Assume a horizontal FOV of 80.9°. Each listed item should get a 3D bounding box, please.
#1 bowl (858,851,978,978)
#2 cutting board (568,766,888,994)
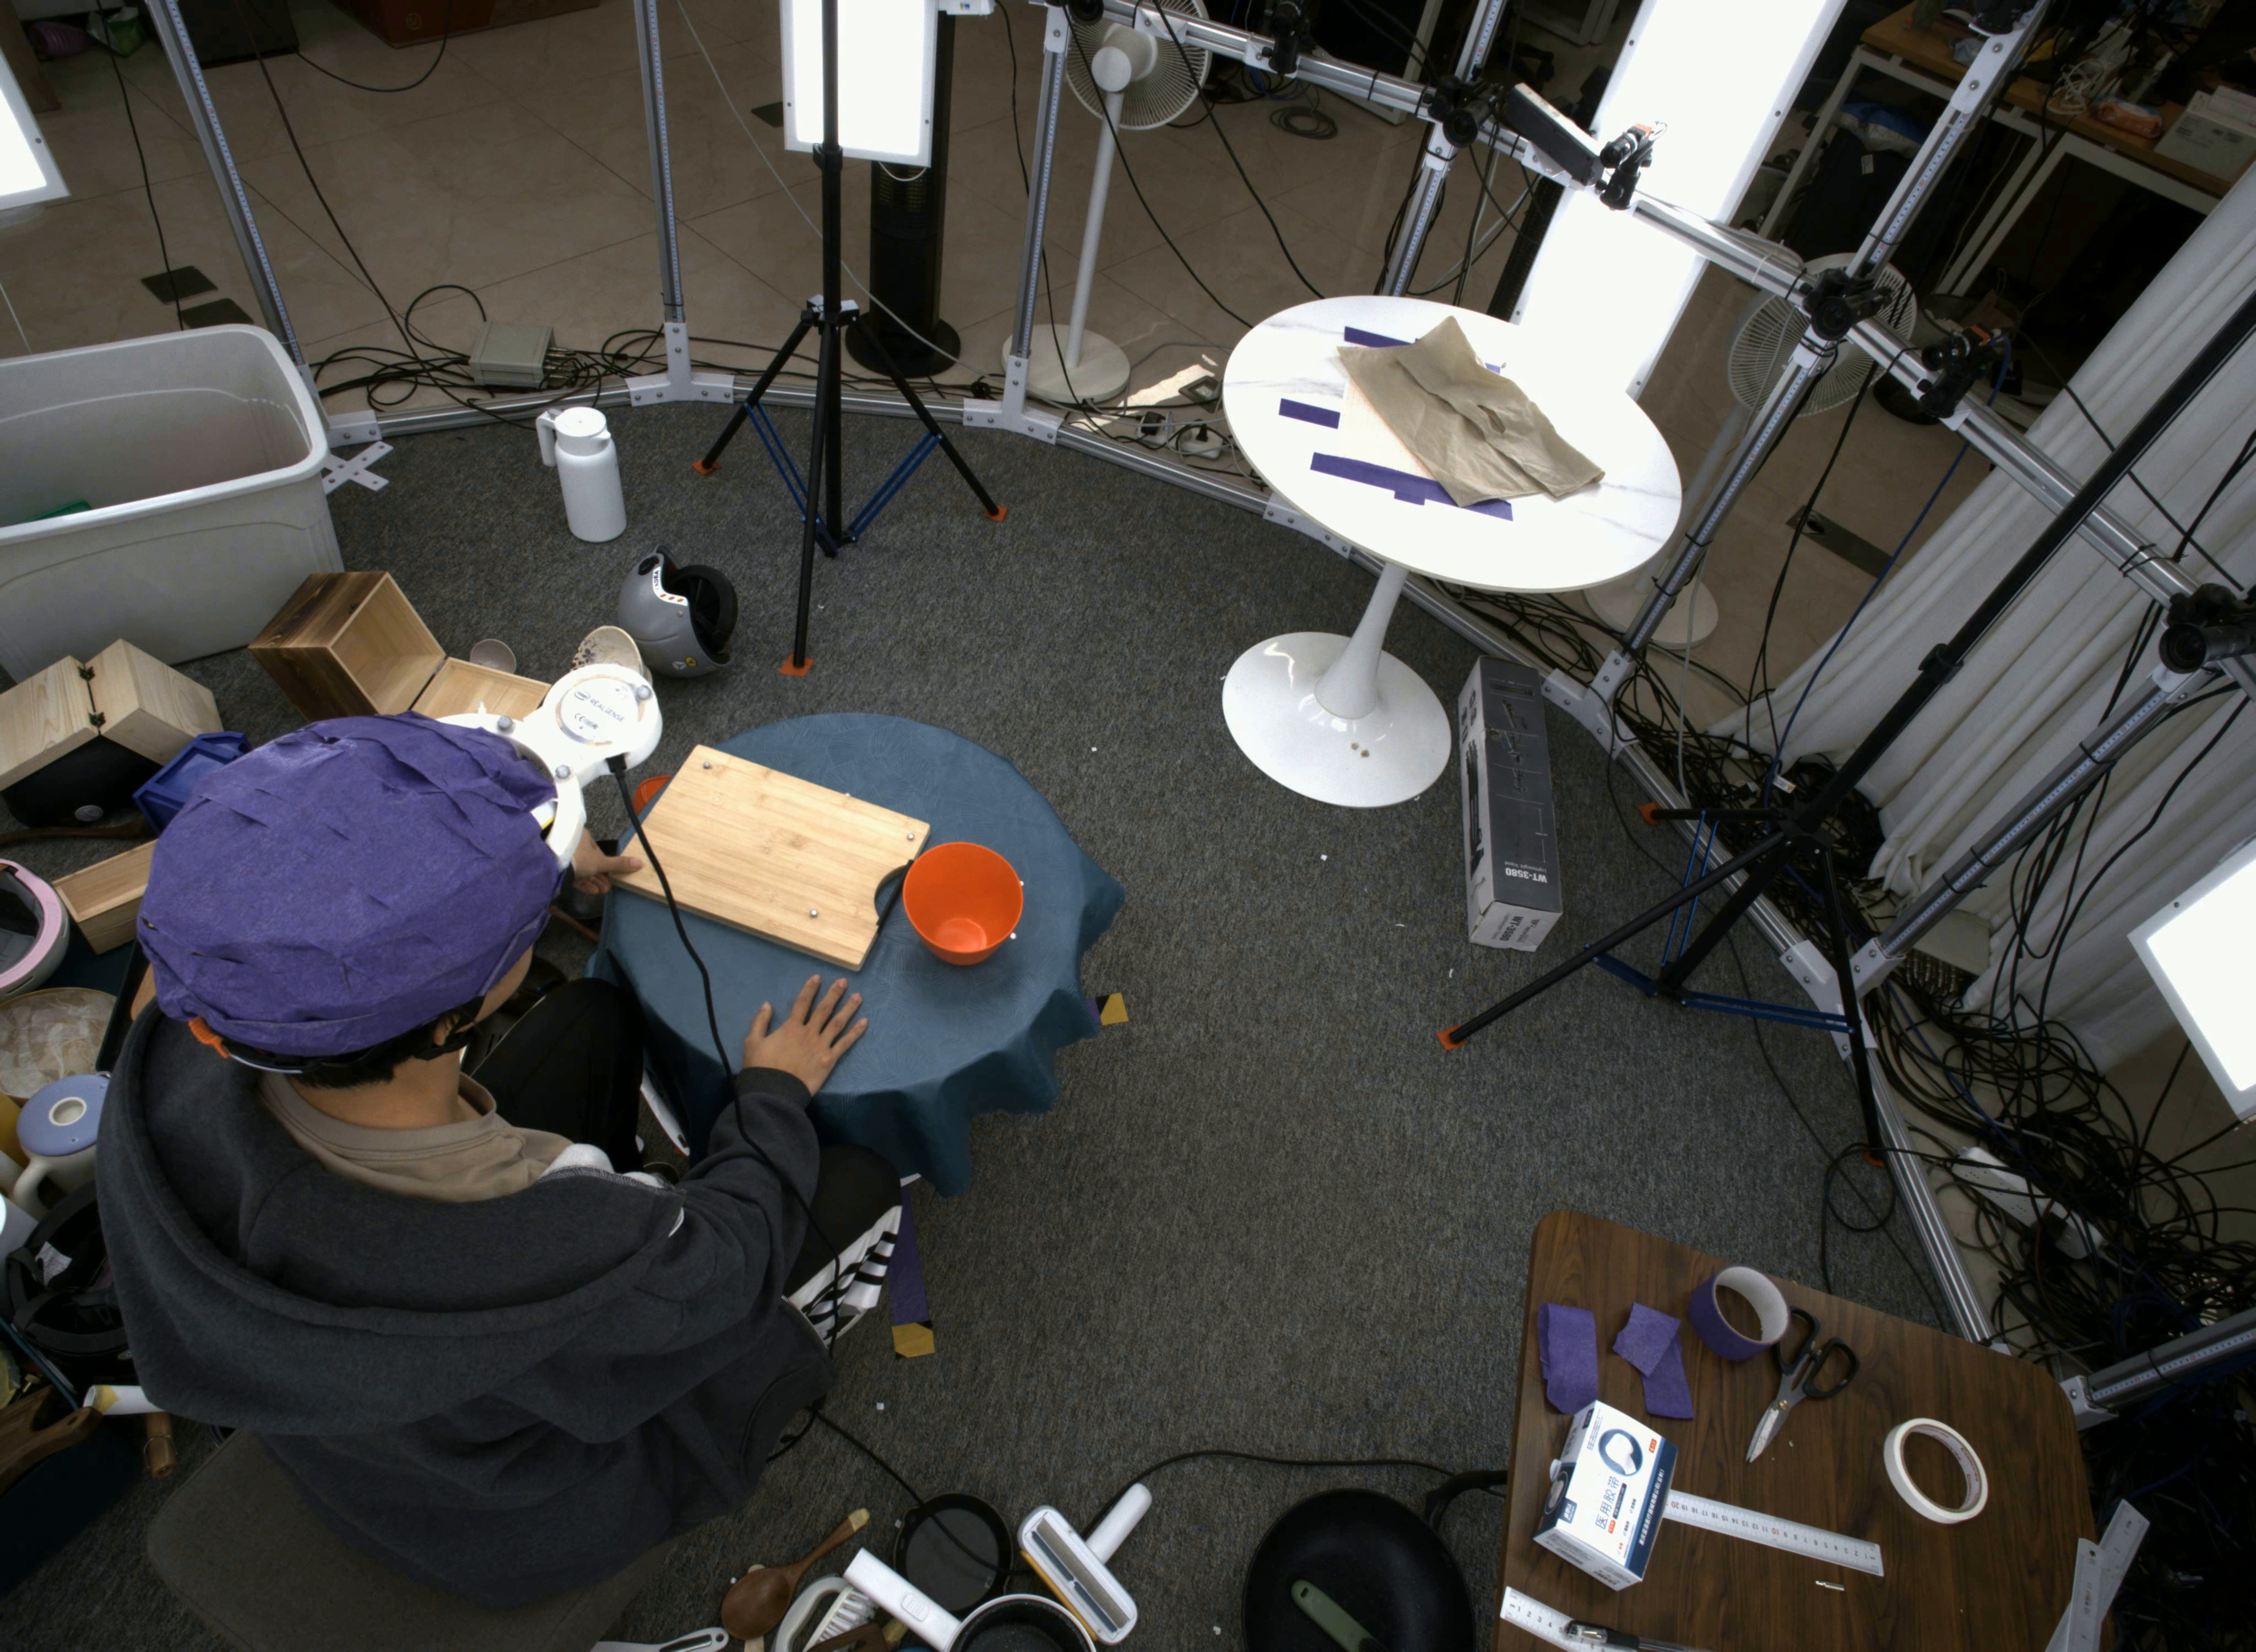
[{"bbox_3d":[-0.262,0.120,1.615,0.148,0.107,0.145,8,51,-9],"label":"bowl"},{"bbox_3d":[-0.510,0.061,1.651,0.346,0.024,0.247,16,52,-2],"label":"cutting board"}]
